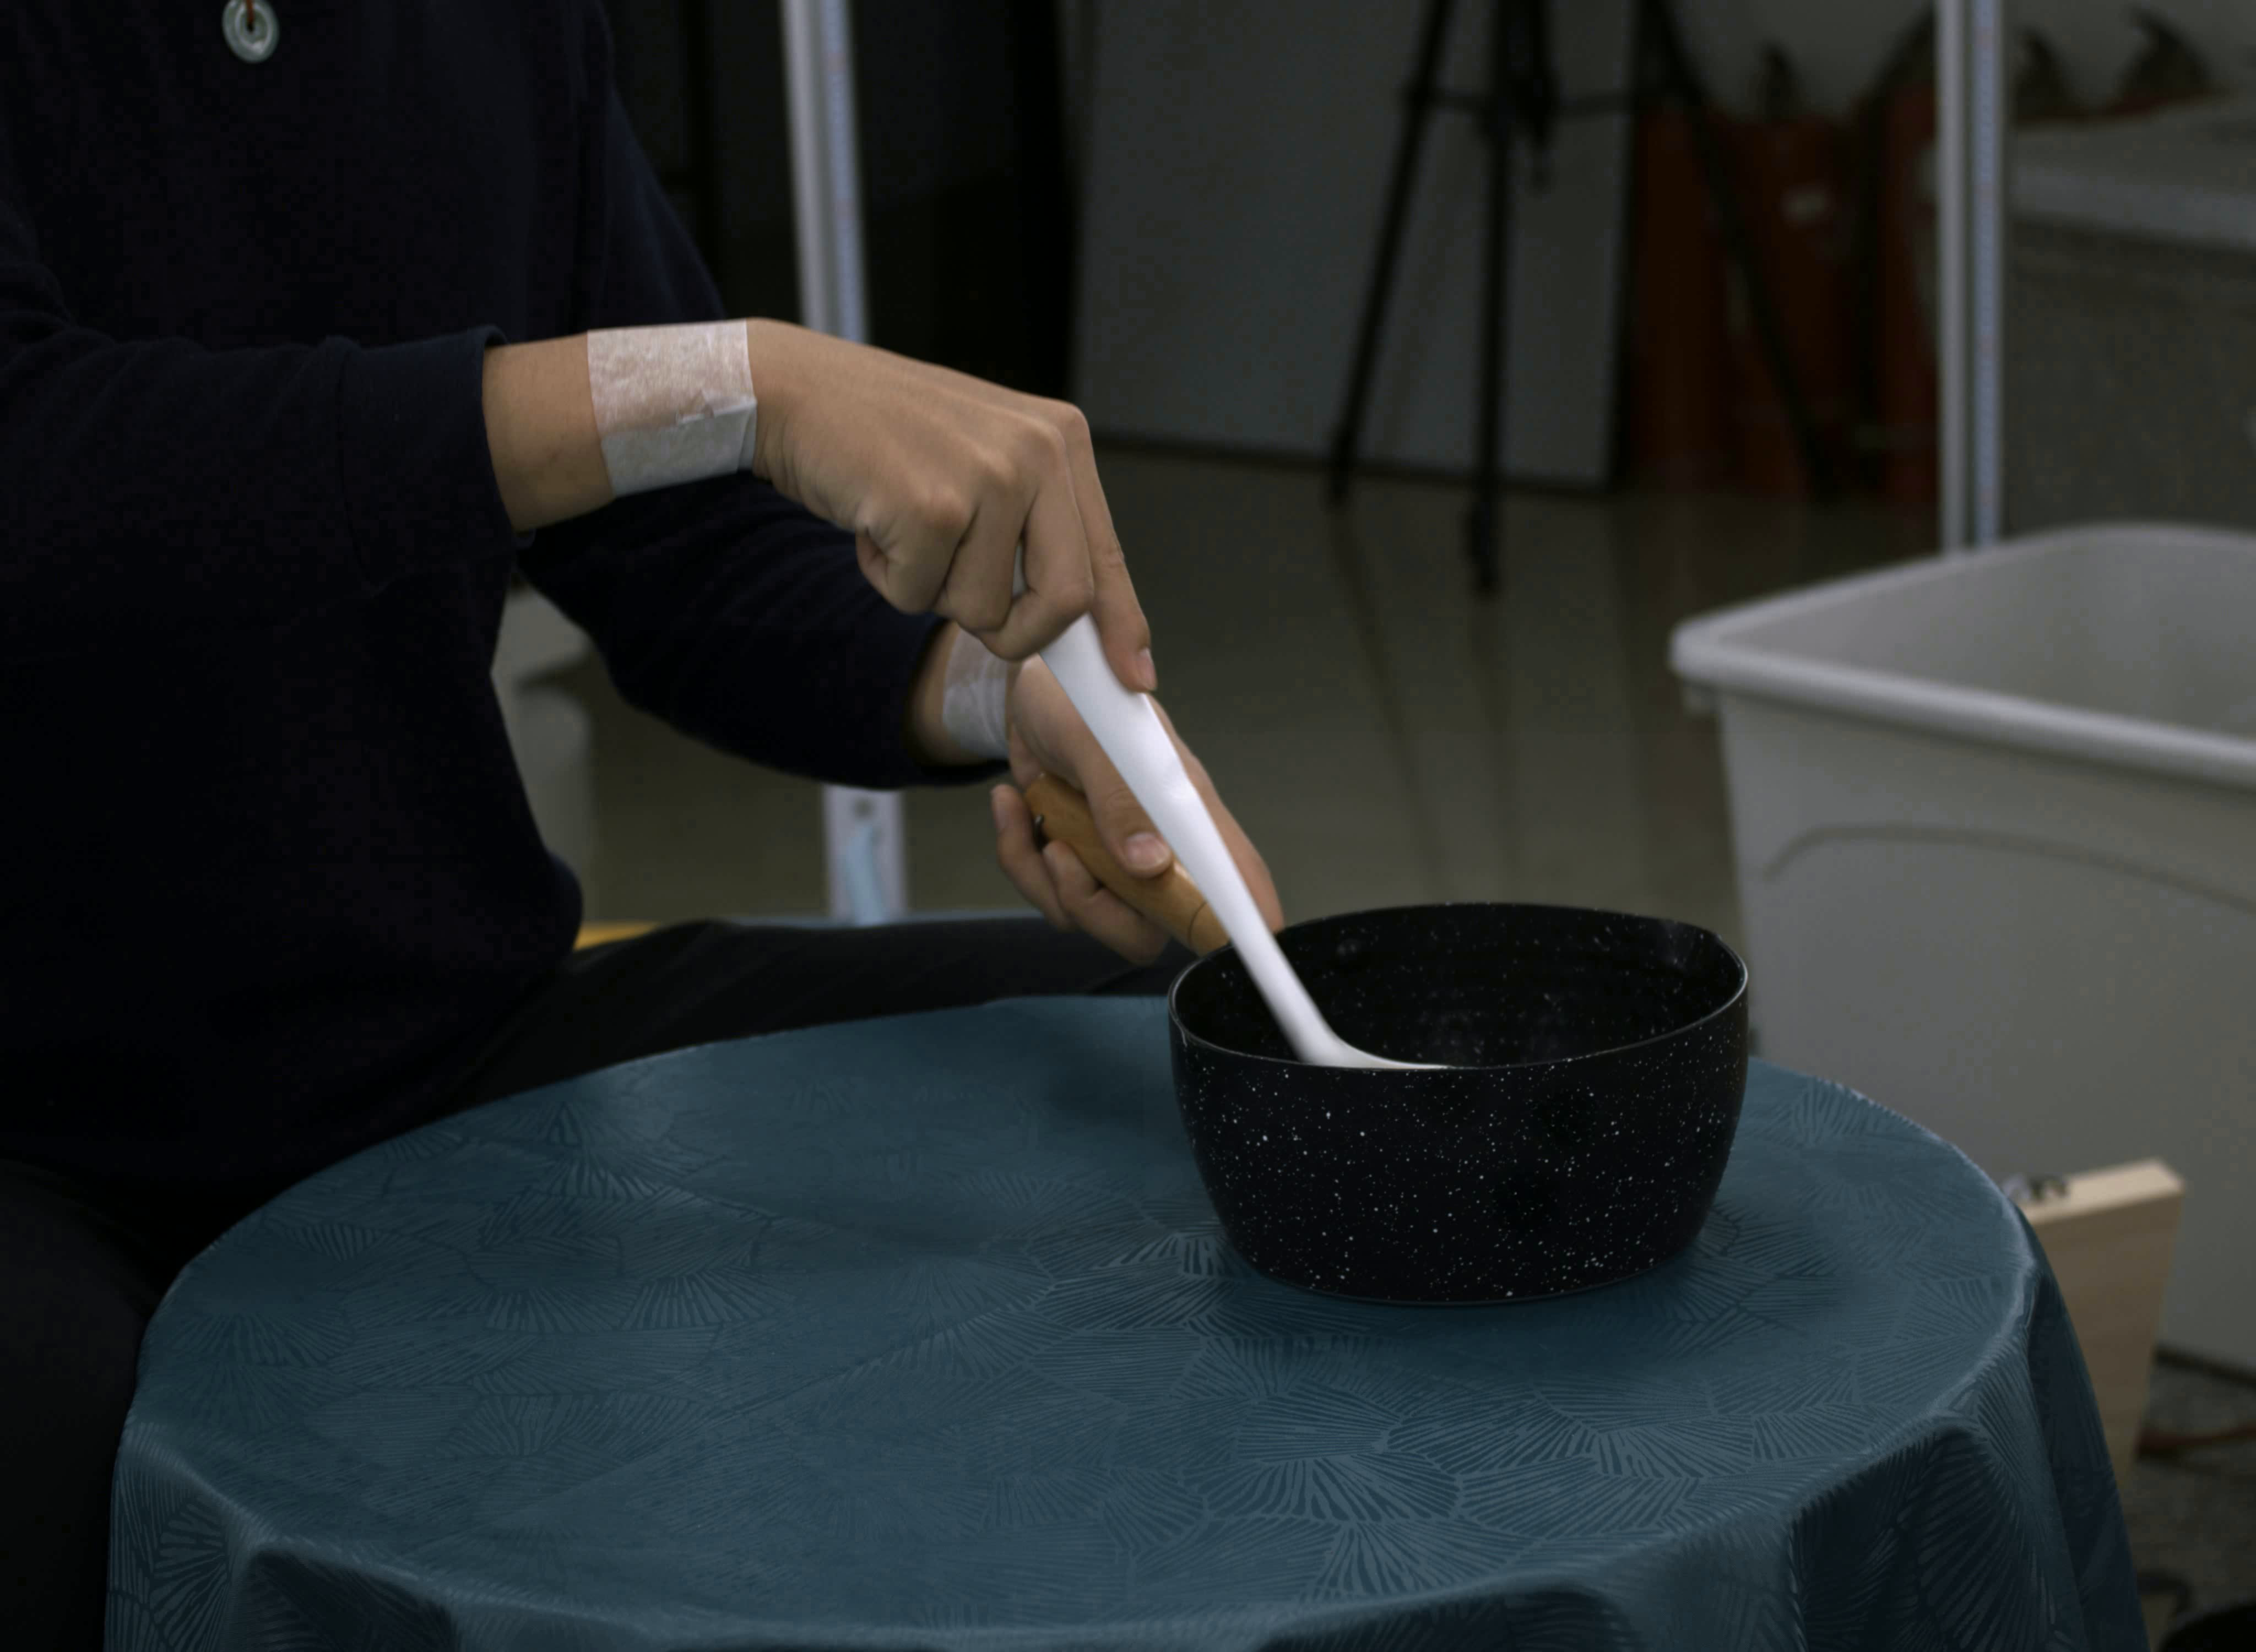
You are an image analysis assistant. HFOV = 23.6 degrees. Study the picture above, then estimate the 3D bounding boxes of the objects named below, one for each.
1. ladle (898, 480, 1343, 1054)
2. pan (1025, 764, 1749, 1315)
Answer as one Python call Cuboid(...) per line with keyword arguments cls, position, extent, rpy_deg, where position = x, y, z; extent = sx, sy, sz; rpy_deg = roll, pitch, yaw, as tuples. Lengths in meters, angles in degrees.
Cuboid(cls="ladle", position=(0.034, 0.011, 1.688), extent=(0.070, 0.294, 0.089), rpy_deg=(-35, 0, 44))
Cuboid(cls="pan", position=(0.062, 0.063, 1.761), extent=(0.203, 0.109, 0.346), rpy_deg=(-13, 18, -30))
